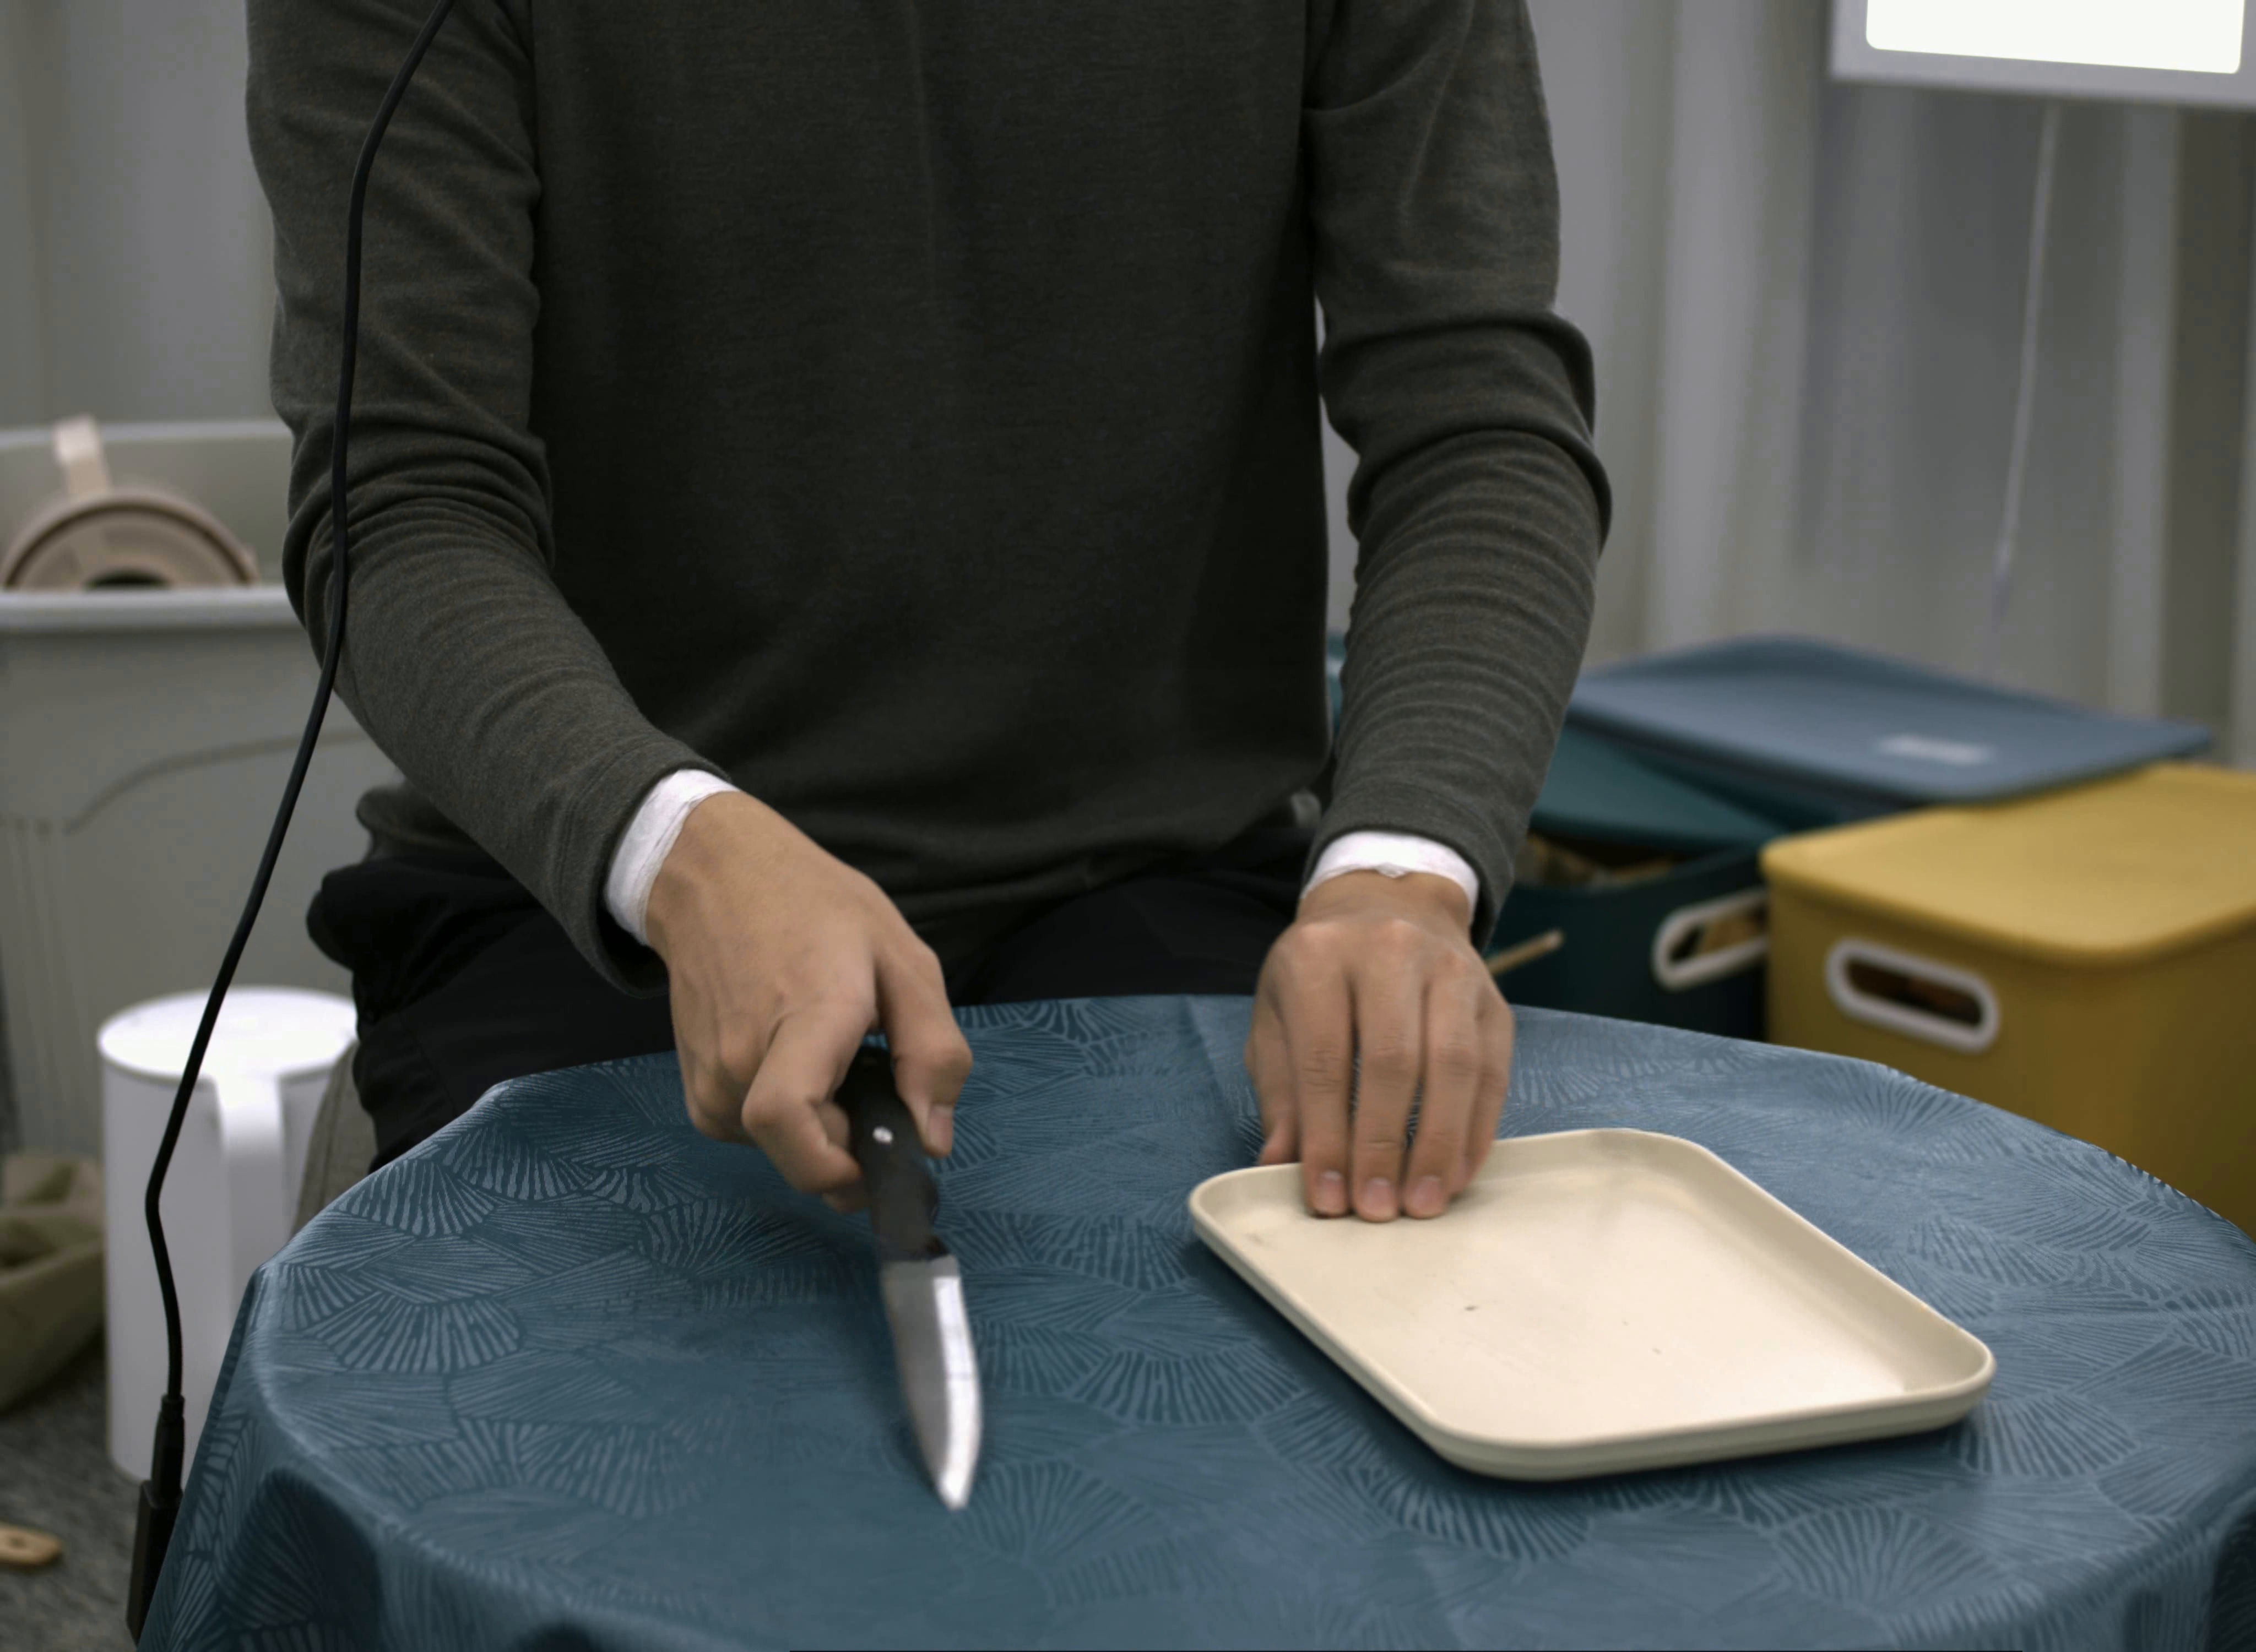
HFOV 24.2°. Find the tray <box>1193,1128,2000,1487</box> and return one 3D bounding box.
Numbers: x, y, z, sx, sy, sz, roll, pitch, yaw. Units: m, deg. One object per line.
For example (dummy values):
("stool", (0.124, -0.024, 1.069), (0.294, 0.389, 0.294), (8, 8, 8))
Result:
("tray", (0.129, 0.136, 1.511), (0.171, 0.017, 0.237), (-6, 16, -18))

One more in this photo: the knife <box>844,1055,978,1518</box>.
("knife", (-0.062, 0.127, 1.479), (0.024, 0.016, 0.236), (-4, 28, -7))
